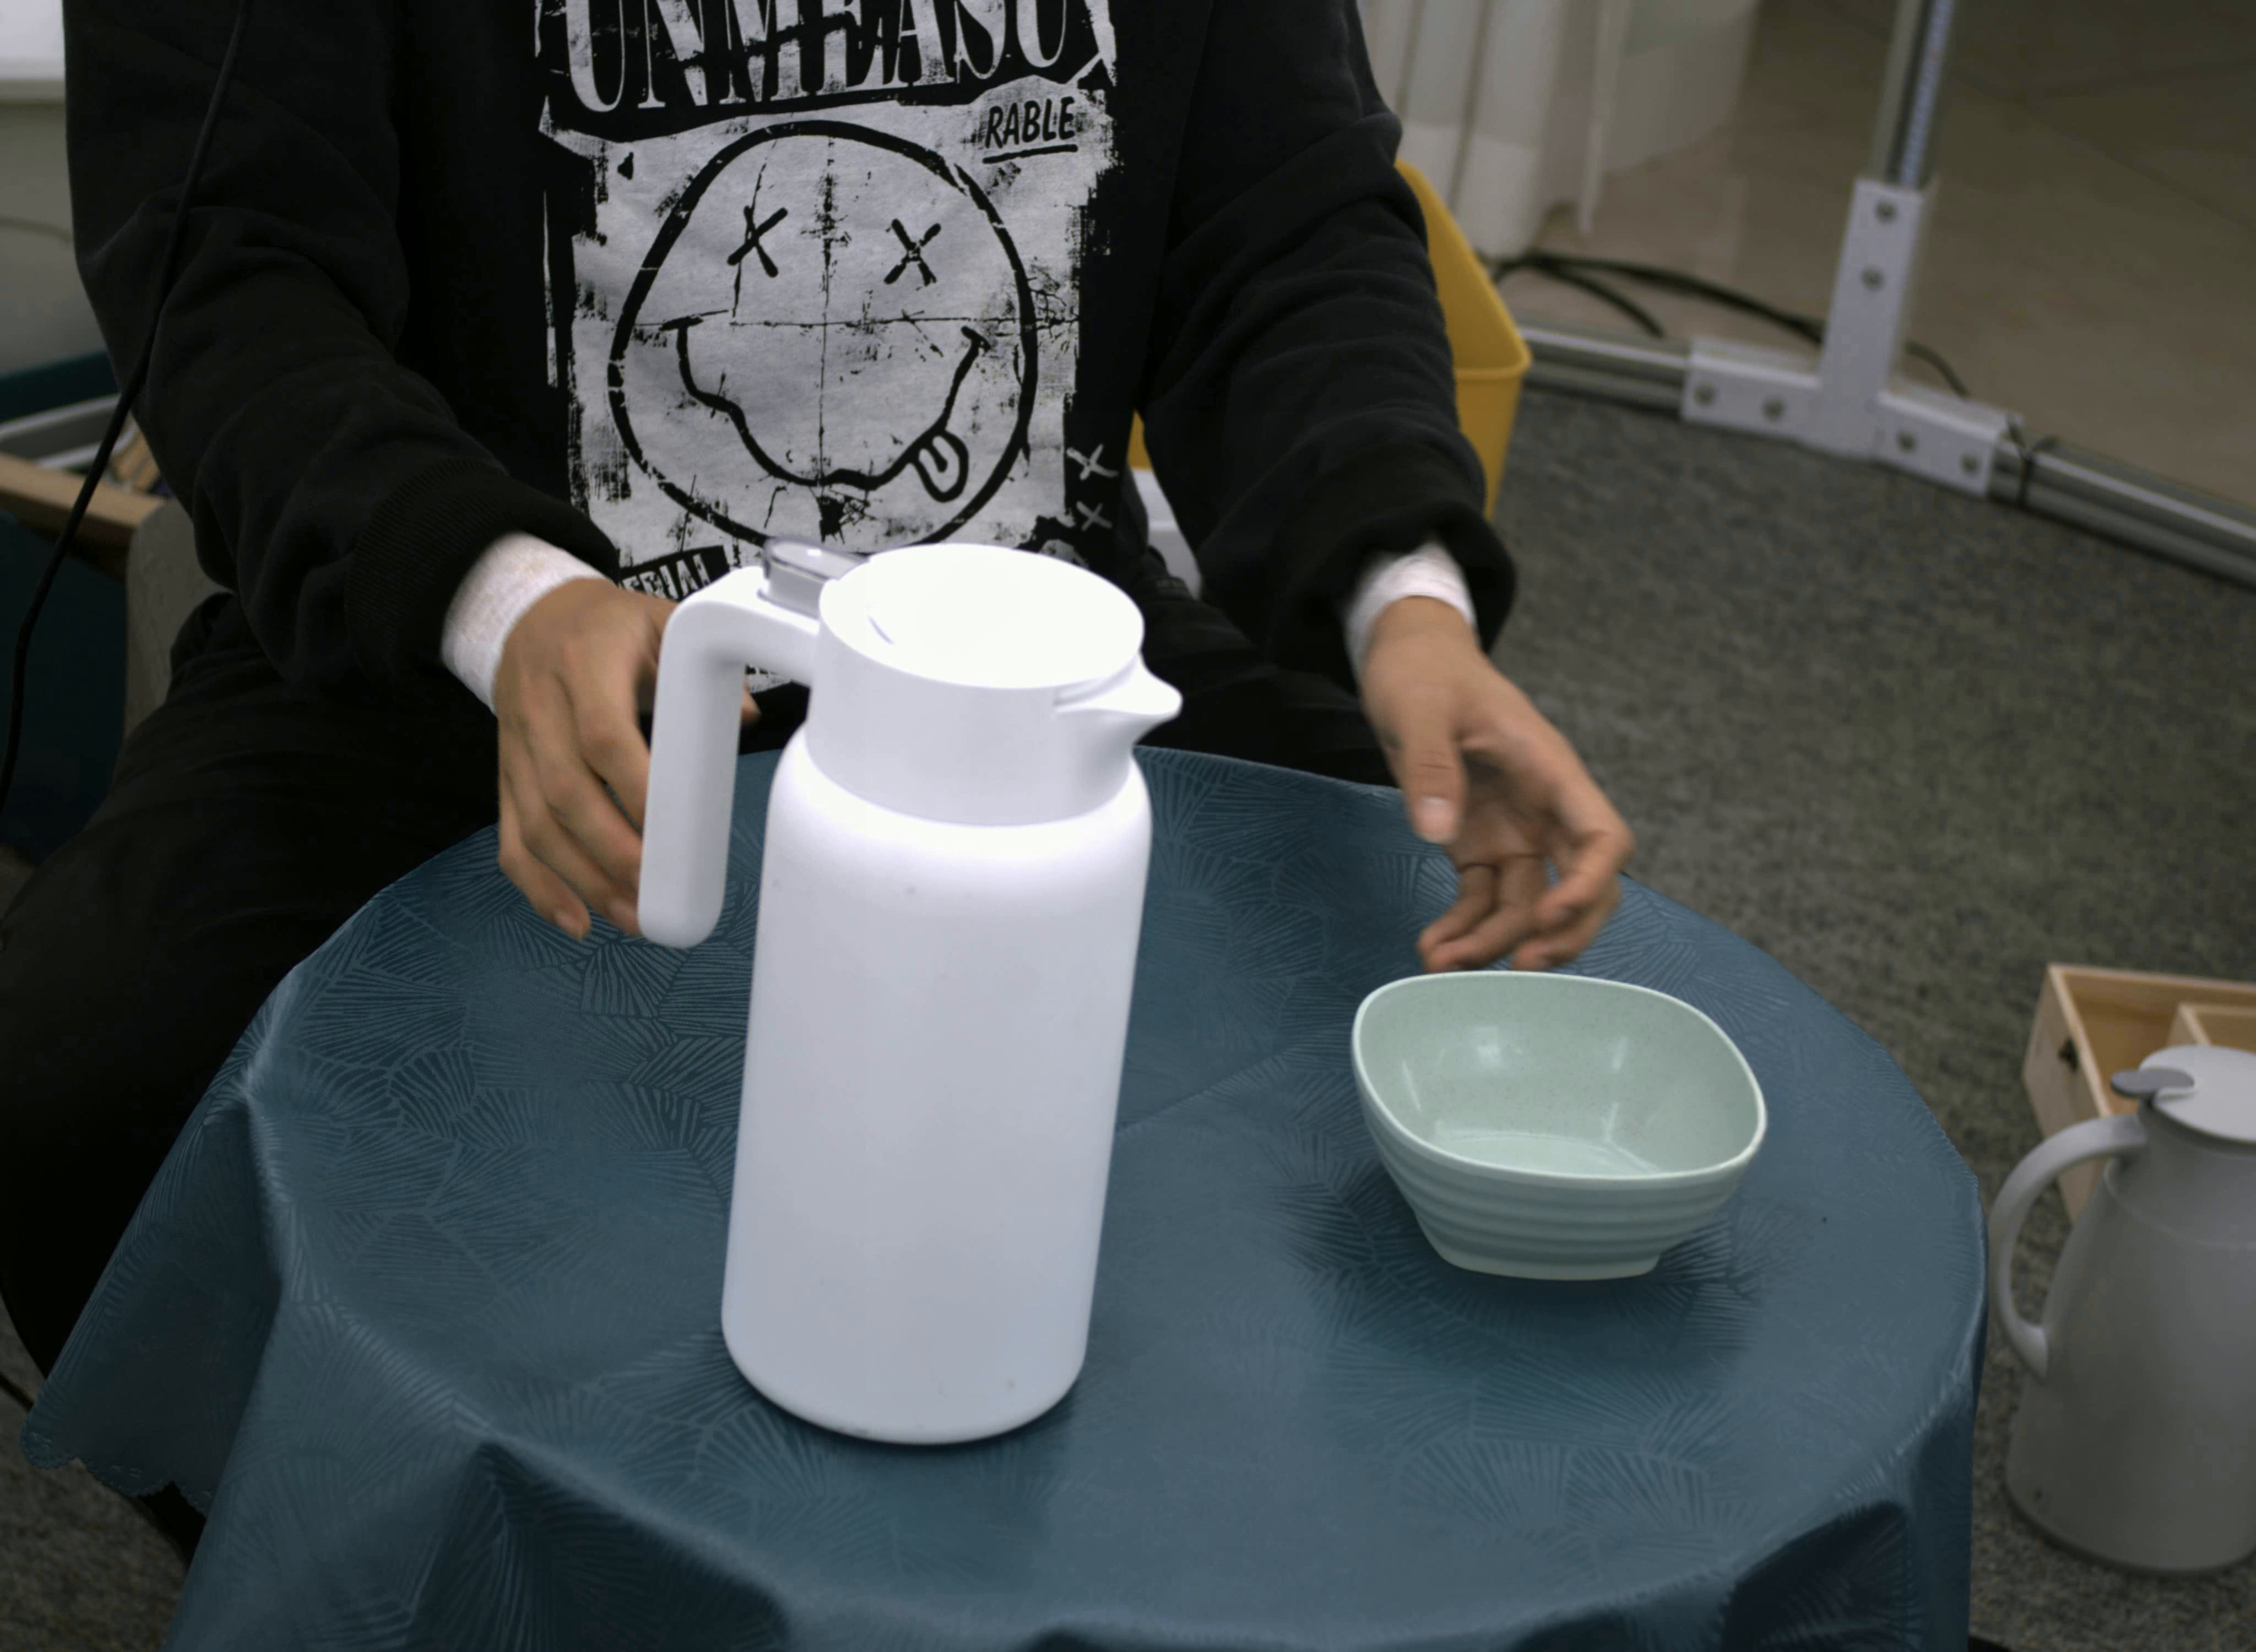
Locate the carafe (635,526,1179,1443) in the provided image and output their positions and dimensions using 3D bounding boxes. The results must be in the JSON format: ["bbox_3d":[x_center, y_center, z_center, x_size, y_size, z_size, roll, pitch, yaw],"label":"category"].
[{"bbox_3d":[-0.075,0.046,1.647,0.173,0.268,0.124,19,31,23],"label":"carafe"}]

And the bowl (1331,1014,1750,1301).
[{"bbox_3d":[0.137,0.117,1.804,0.151,0.058,0.152,3,21,-1],"label":"bowl"}]
